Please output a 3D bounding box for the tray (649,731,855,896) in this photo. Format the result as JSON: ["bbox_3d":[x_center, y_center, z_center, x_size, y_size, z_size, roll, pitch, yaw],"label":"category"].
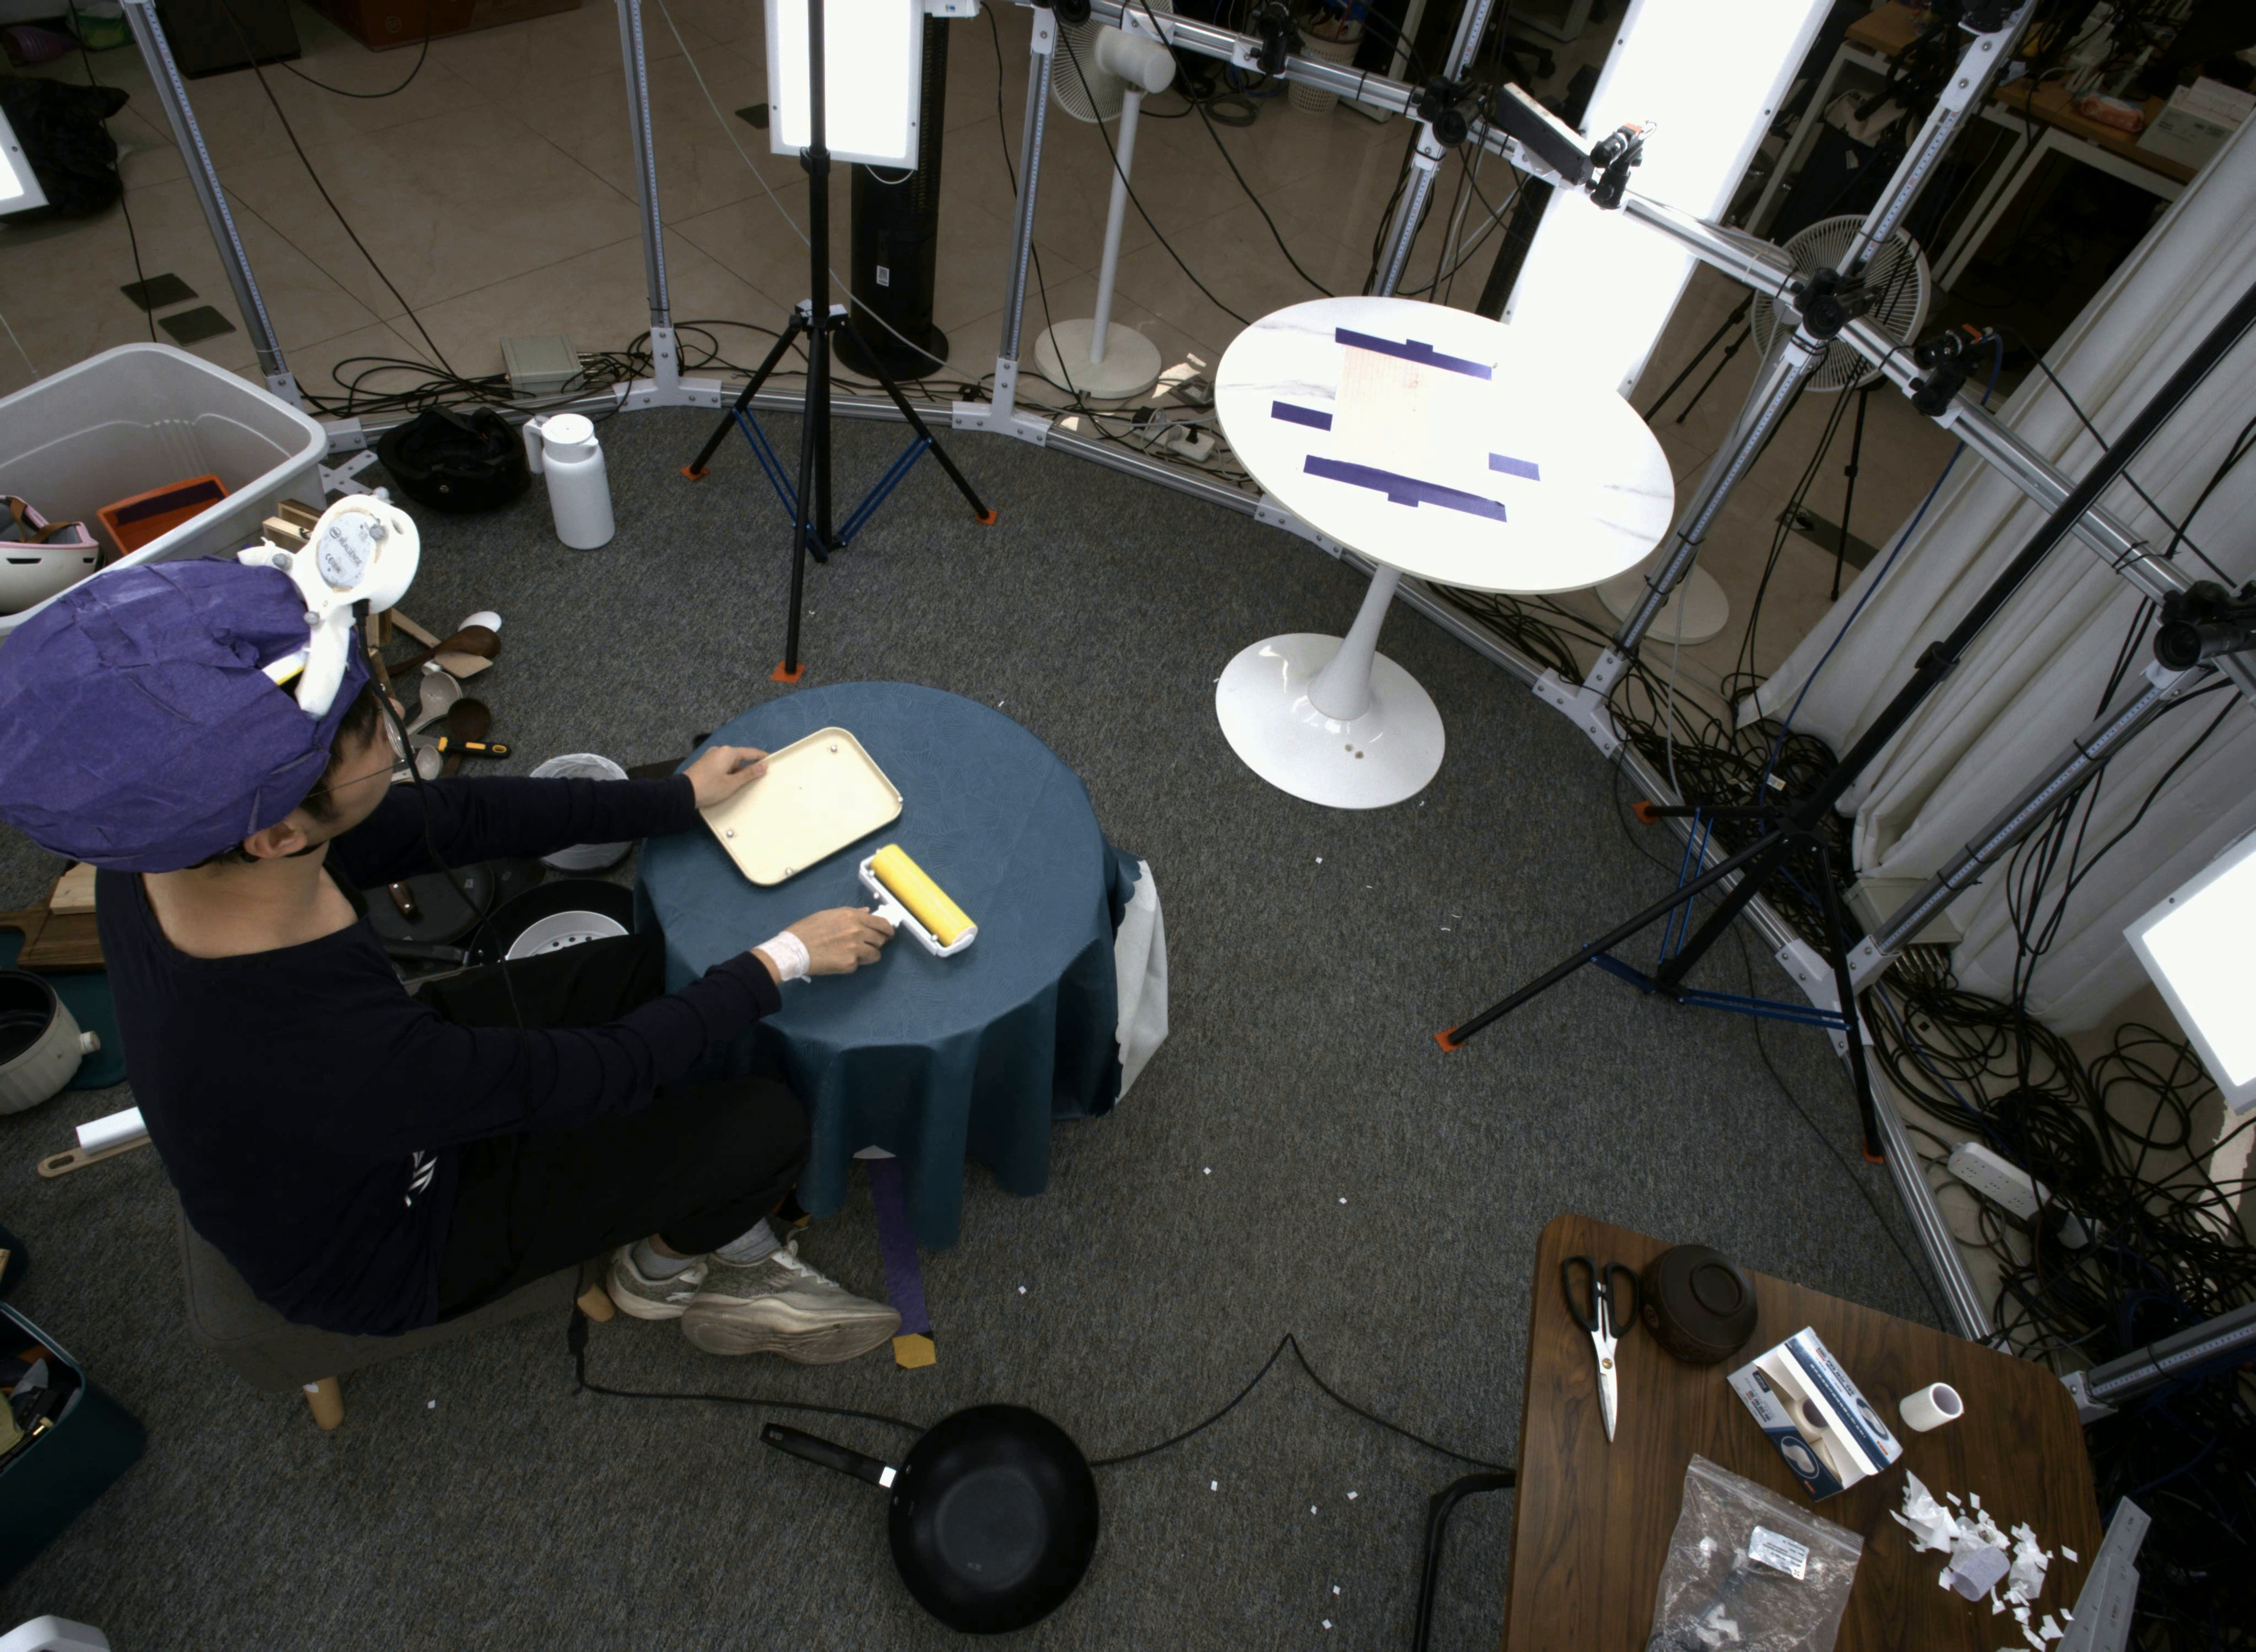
[{"bbox_3d":[-0.495,-0.019,1.708,0.240,0.018,0.169,-35,76,-32],"label":"tray"}]

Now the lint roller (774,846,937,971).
[{"bbox_3d":[-0.358,0.117,1.605,0.170,0.052,0.193,39,39,16],"label":"lint roller"}]
